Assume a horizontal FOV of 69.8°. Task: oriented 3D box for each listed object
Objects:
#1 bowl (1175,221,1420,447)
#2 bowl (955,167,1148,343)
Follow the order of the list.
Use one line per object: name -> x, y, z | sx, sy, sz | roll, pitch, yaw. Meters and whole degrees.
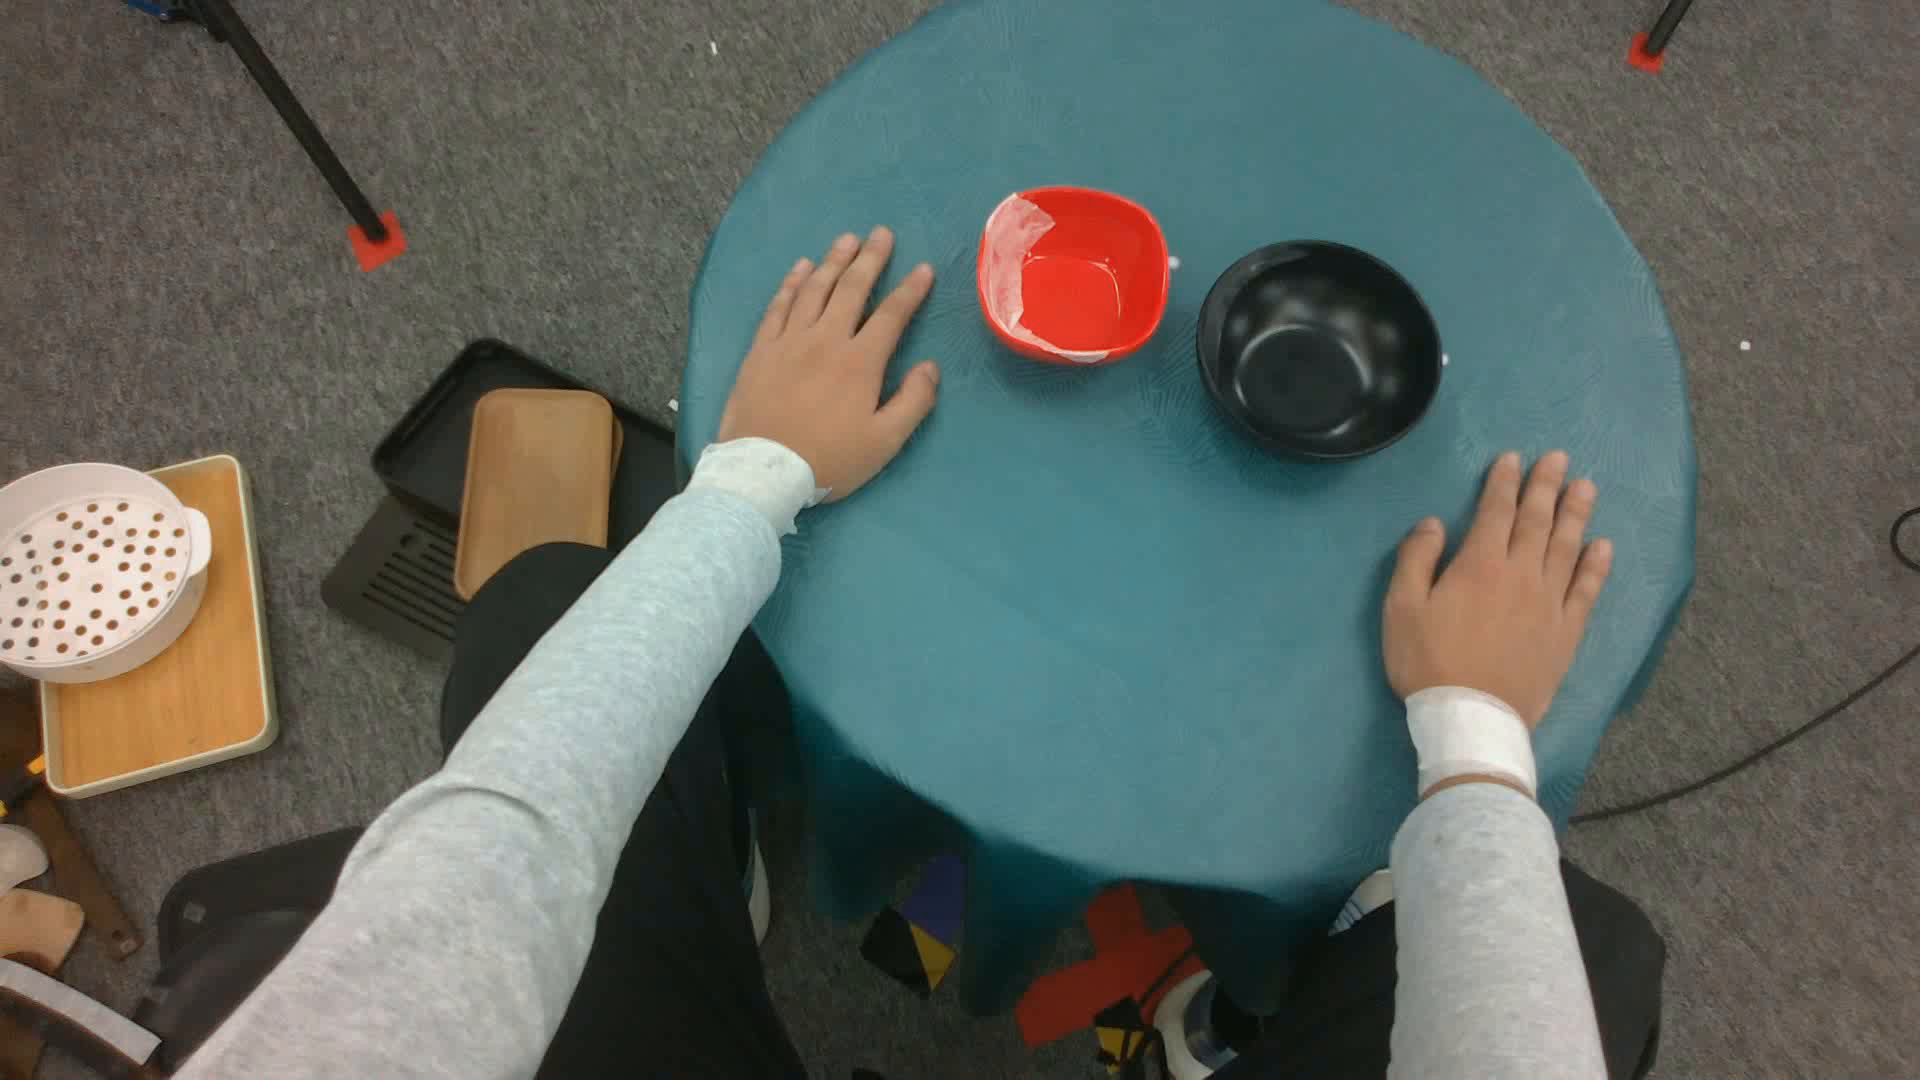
bowl -> 0.190, -0.112, 0.799 | 0.140, 0.049, 0.140 | 1, 72, -2
bowl -> 0.051, -0.157, 0.803 | 0.119, 0.051, 0.119 | 2, 68, -4
